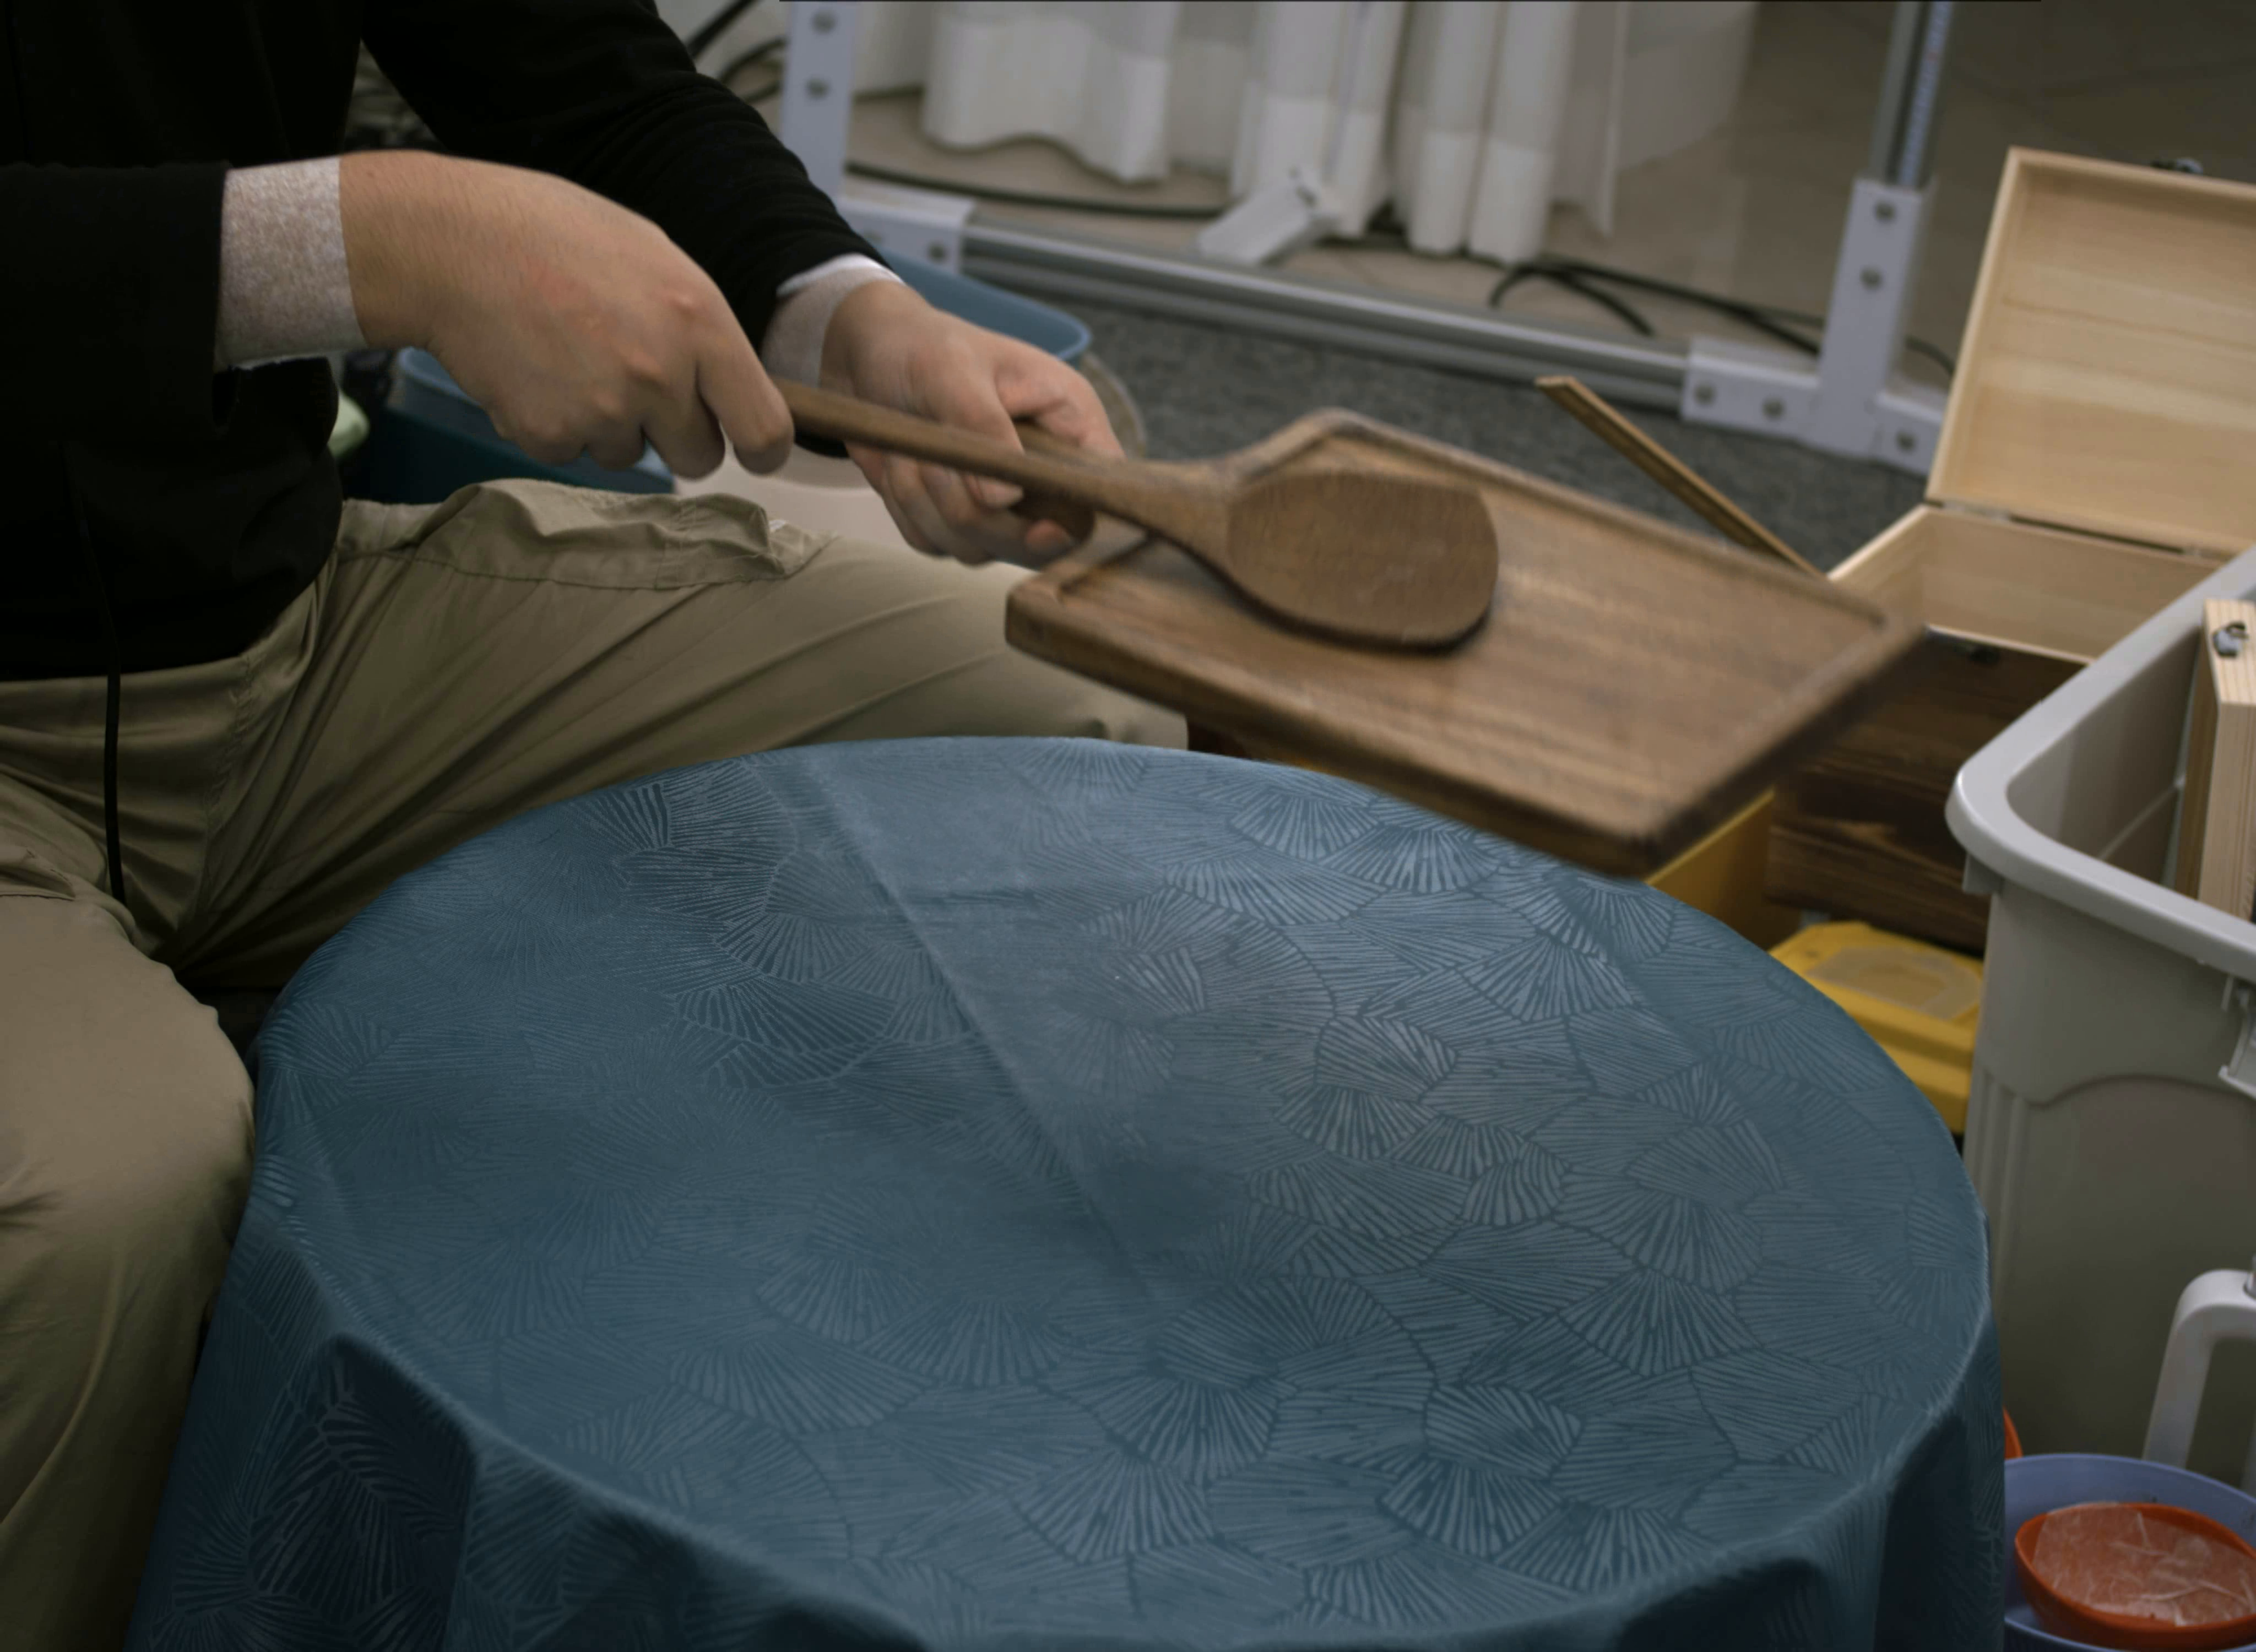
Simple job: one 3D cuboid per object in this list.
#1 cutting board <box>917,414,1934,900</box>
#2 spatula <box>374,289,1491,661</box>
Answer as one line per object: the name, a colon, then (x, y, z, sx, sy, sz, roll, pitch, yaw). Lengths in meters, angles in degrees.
cutting board: (0.074, -0.076, 1.787, 0.354, 0.023, 0.200, 22, 34, 29)
spatula: (-0.066, -0.124, 1.776, 0.385, 0.016, 0.096, 15, 38, 1)
